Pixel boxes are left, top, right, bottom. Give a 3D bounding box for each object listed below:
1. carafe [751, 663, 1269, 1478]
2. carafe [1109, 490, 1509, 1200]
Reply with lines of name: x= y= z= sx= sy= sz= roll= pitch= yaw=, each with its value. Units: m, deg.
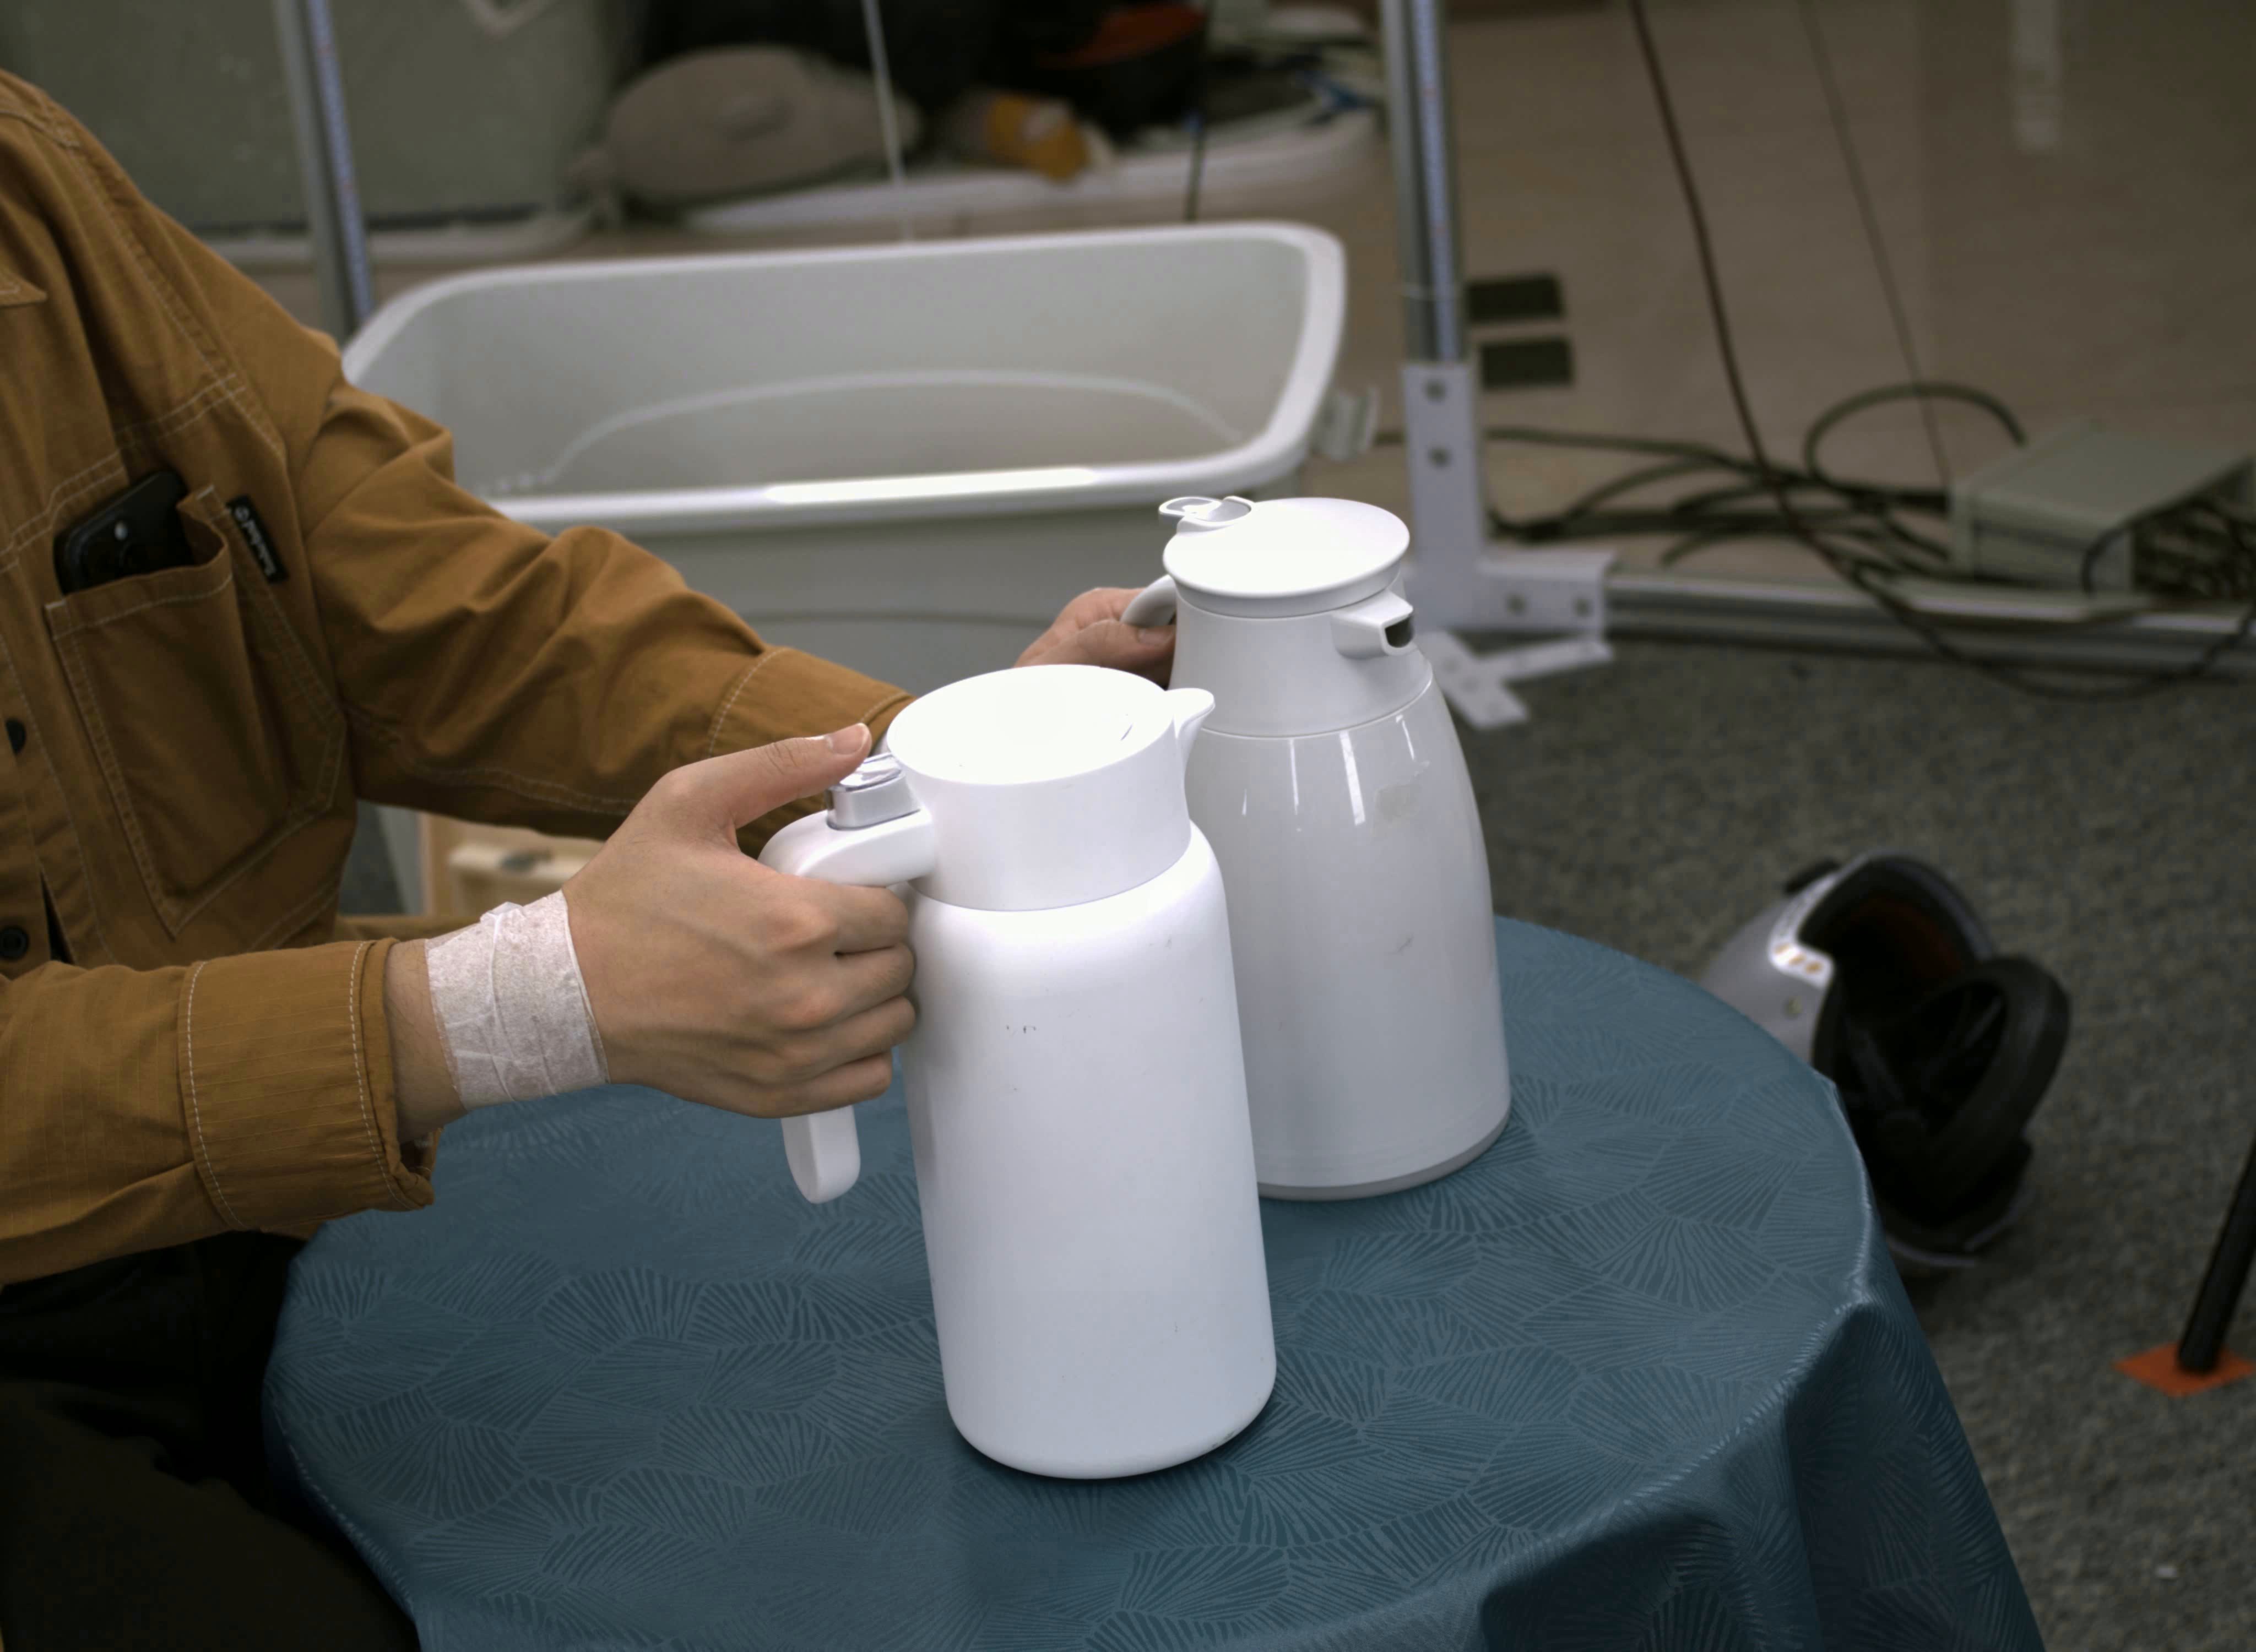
carafe: x=-0.035 y=0.089 z=1.943 sx=0.172 sy=0.273 sz=0.122 roll=-17 pitch=29 yaw=-22
carafe: x=0.056 y=-0.003 z=2.142 sx=0.131 sy=0.252 sz=0.166 roll=-25 pitch=31 yaw=-34
